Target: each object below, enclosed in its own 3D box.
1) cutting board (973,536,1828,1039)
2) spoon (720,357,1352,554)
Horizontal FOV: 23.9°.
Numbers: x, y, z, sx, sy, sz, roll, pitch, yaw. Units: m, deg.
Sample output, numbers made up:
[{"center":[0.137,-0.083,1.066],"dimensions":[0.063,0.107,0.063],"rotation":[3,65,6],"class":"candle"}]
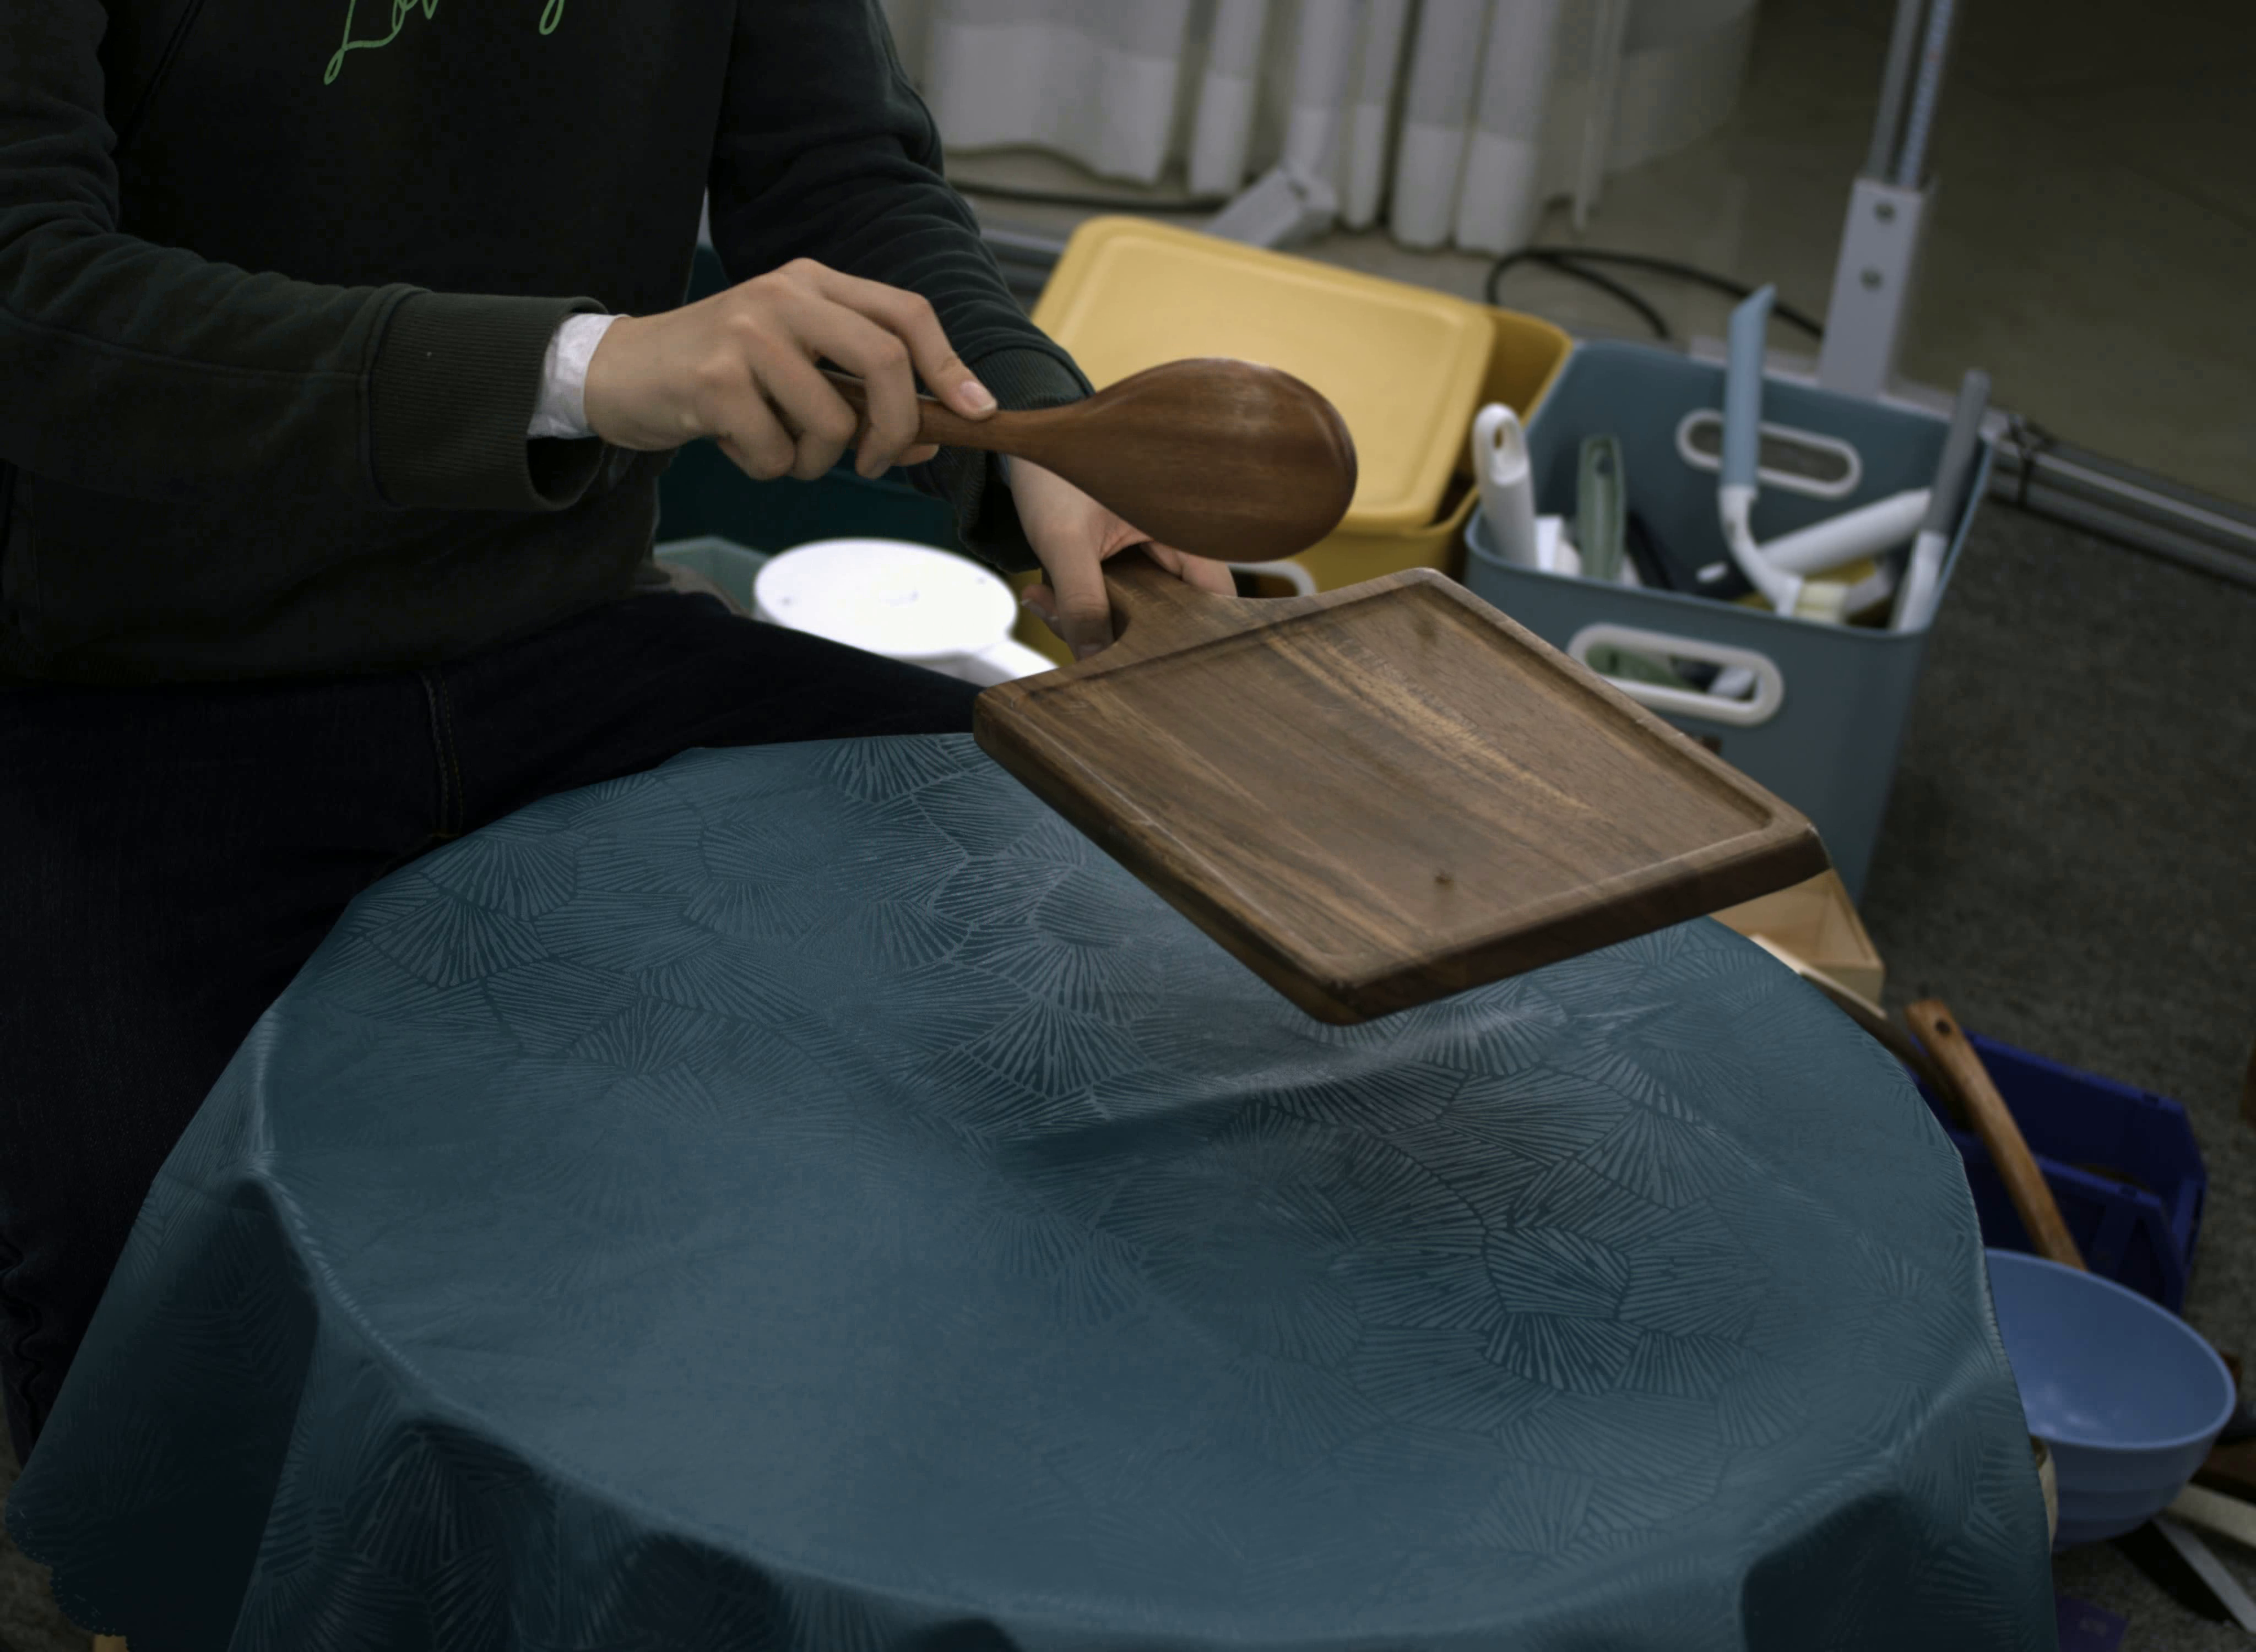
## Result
[{"center":[0.065,-0.032,1.863],"dimensions":[0.200,0.023,0.355],"rotation":[-18,31,-24],"class":"cutting board"},{"center":[-0.032,-0.128,1.768],"dimensions":[0.216,0.075,0.017],"rotation":[8,36,12],"class":"spoon"}]
